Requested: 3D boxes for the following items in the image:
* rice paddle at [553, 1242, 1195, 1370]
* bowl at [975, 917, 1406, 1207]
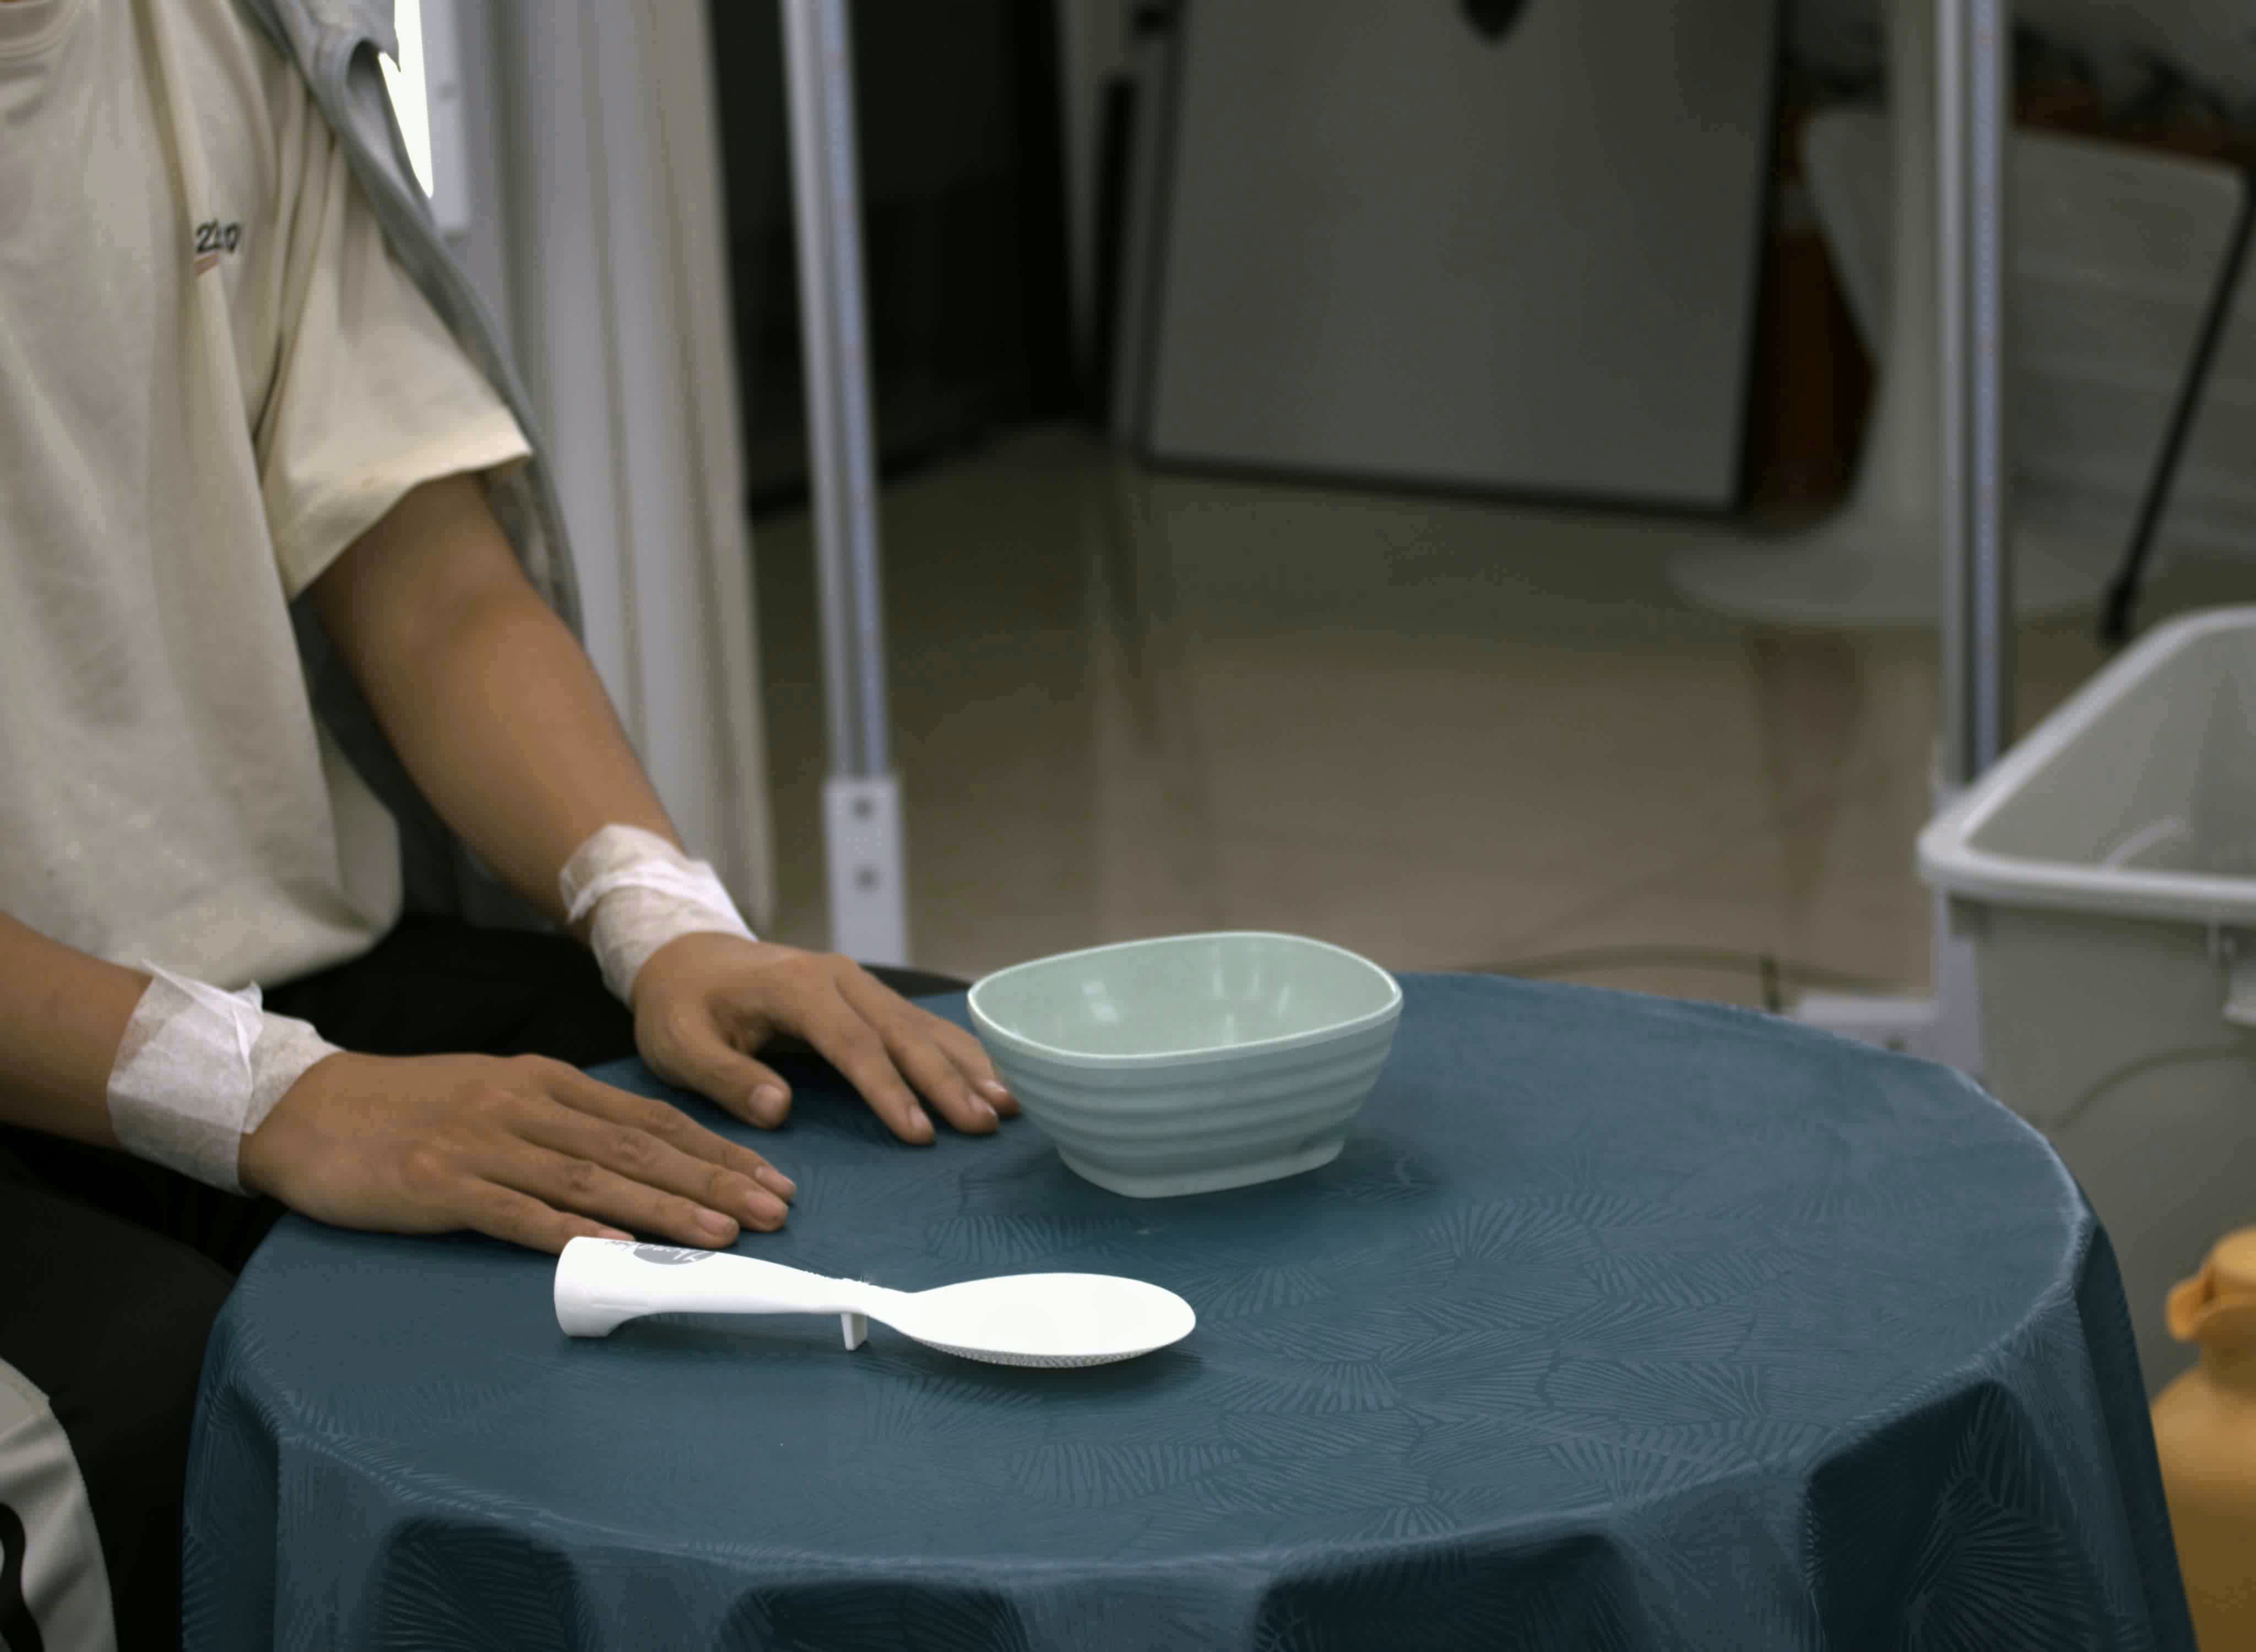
[{"bbox_3d":[-0.076,0.145,1.638,0.205,0.030,0.068,1,16,20],"label":"rice paddle"},{"bbox_3d":[0.022,0.082,1.801,0.149,0.059,0.152,-5,17,1],"label":"bowl"}]
